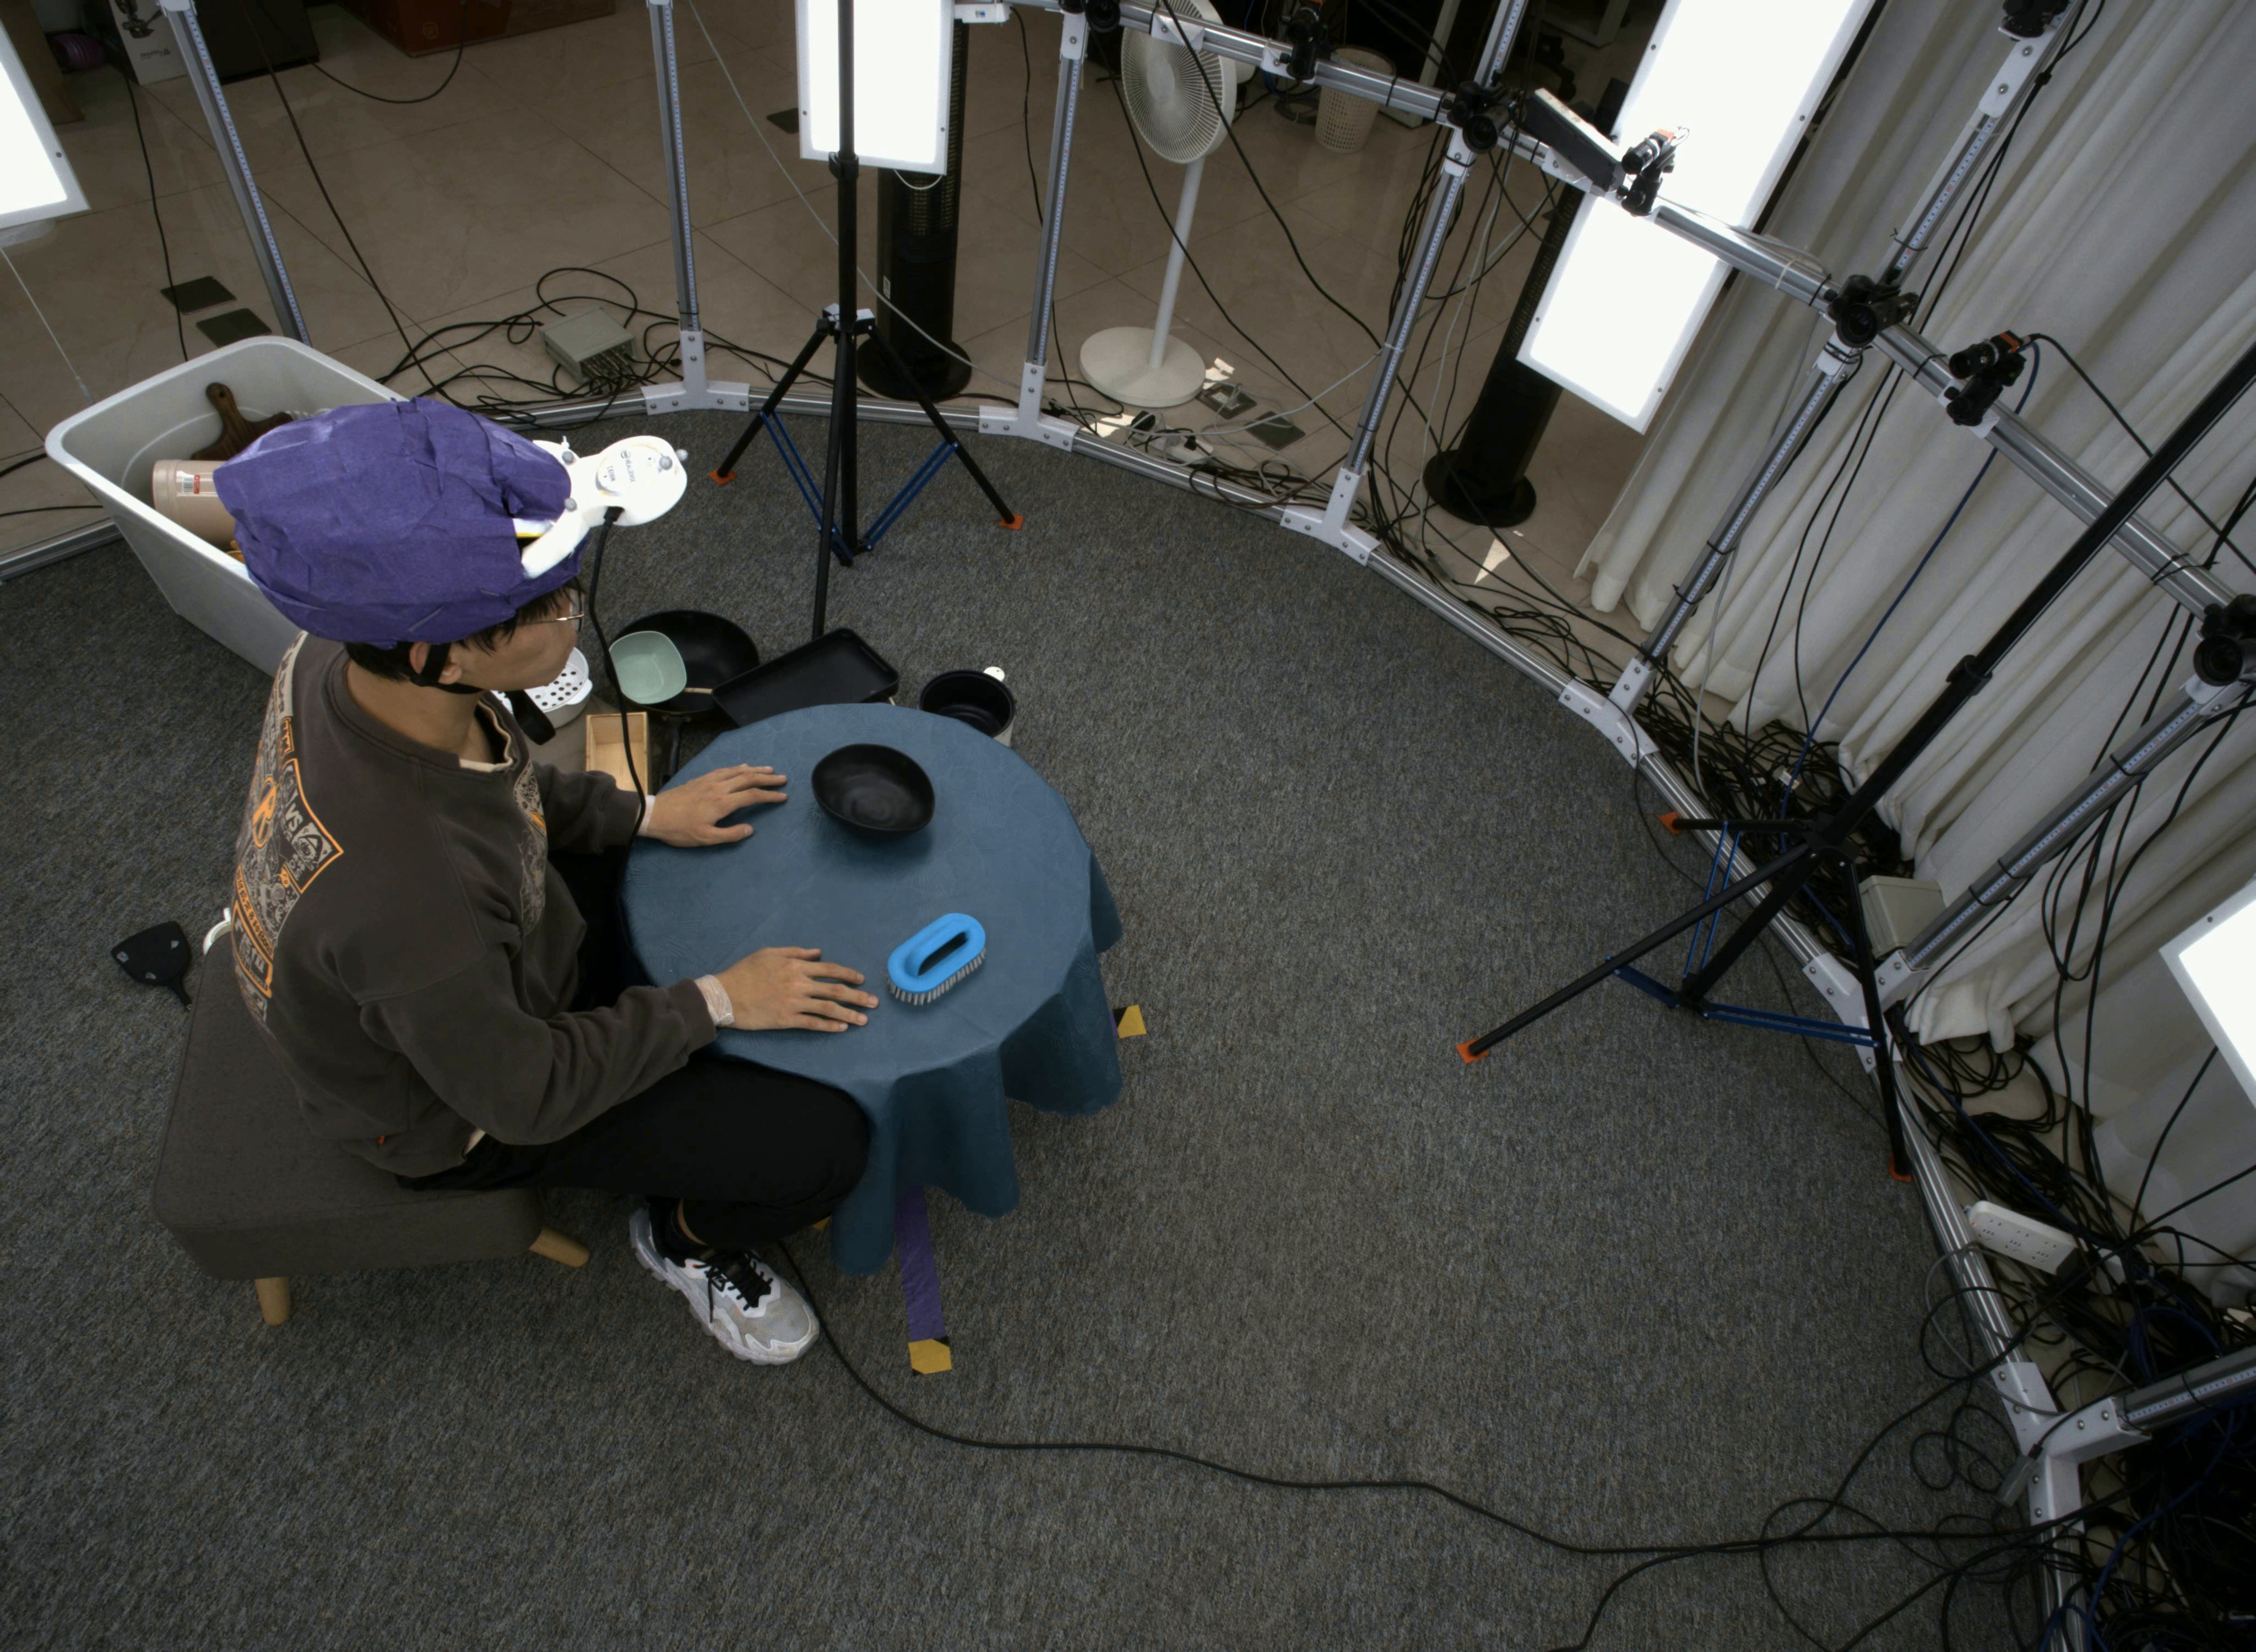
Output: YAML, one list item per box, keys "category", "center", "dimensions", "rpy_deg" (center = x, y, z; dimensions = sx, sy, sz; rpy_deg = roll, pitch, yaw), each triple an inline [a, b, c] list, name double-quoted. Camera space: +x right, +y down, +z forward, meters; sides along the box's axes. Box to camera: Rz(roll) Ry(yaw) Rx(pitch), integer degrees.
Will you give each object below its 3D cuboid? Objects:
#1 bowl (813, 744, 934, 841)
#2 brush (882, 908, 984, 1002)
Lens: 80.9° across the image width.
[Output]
- category: "bowl"
  center: [-0.340, -0.034, 1.744]
  dimensions: [0.168, 0.068, 0.136]
  rpy_deg: [24, 53, 3]
- category: "brush"
  center: [-0.240, 0.154, 1.628]
  dimensions: [0.142, 0.065, 0.083]
  rpy_deg: [-36, 72, -31]
